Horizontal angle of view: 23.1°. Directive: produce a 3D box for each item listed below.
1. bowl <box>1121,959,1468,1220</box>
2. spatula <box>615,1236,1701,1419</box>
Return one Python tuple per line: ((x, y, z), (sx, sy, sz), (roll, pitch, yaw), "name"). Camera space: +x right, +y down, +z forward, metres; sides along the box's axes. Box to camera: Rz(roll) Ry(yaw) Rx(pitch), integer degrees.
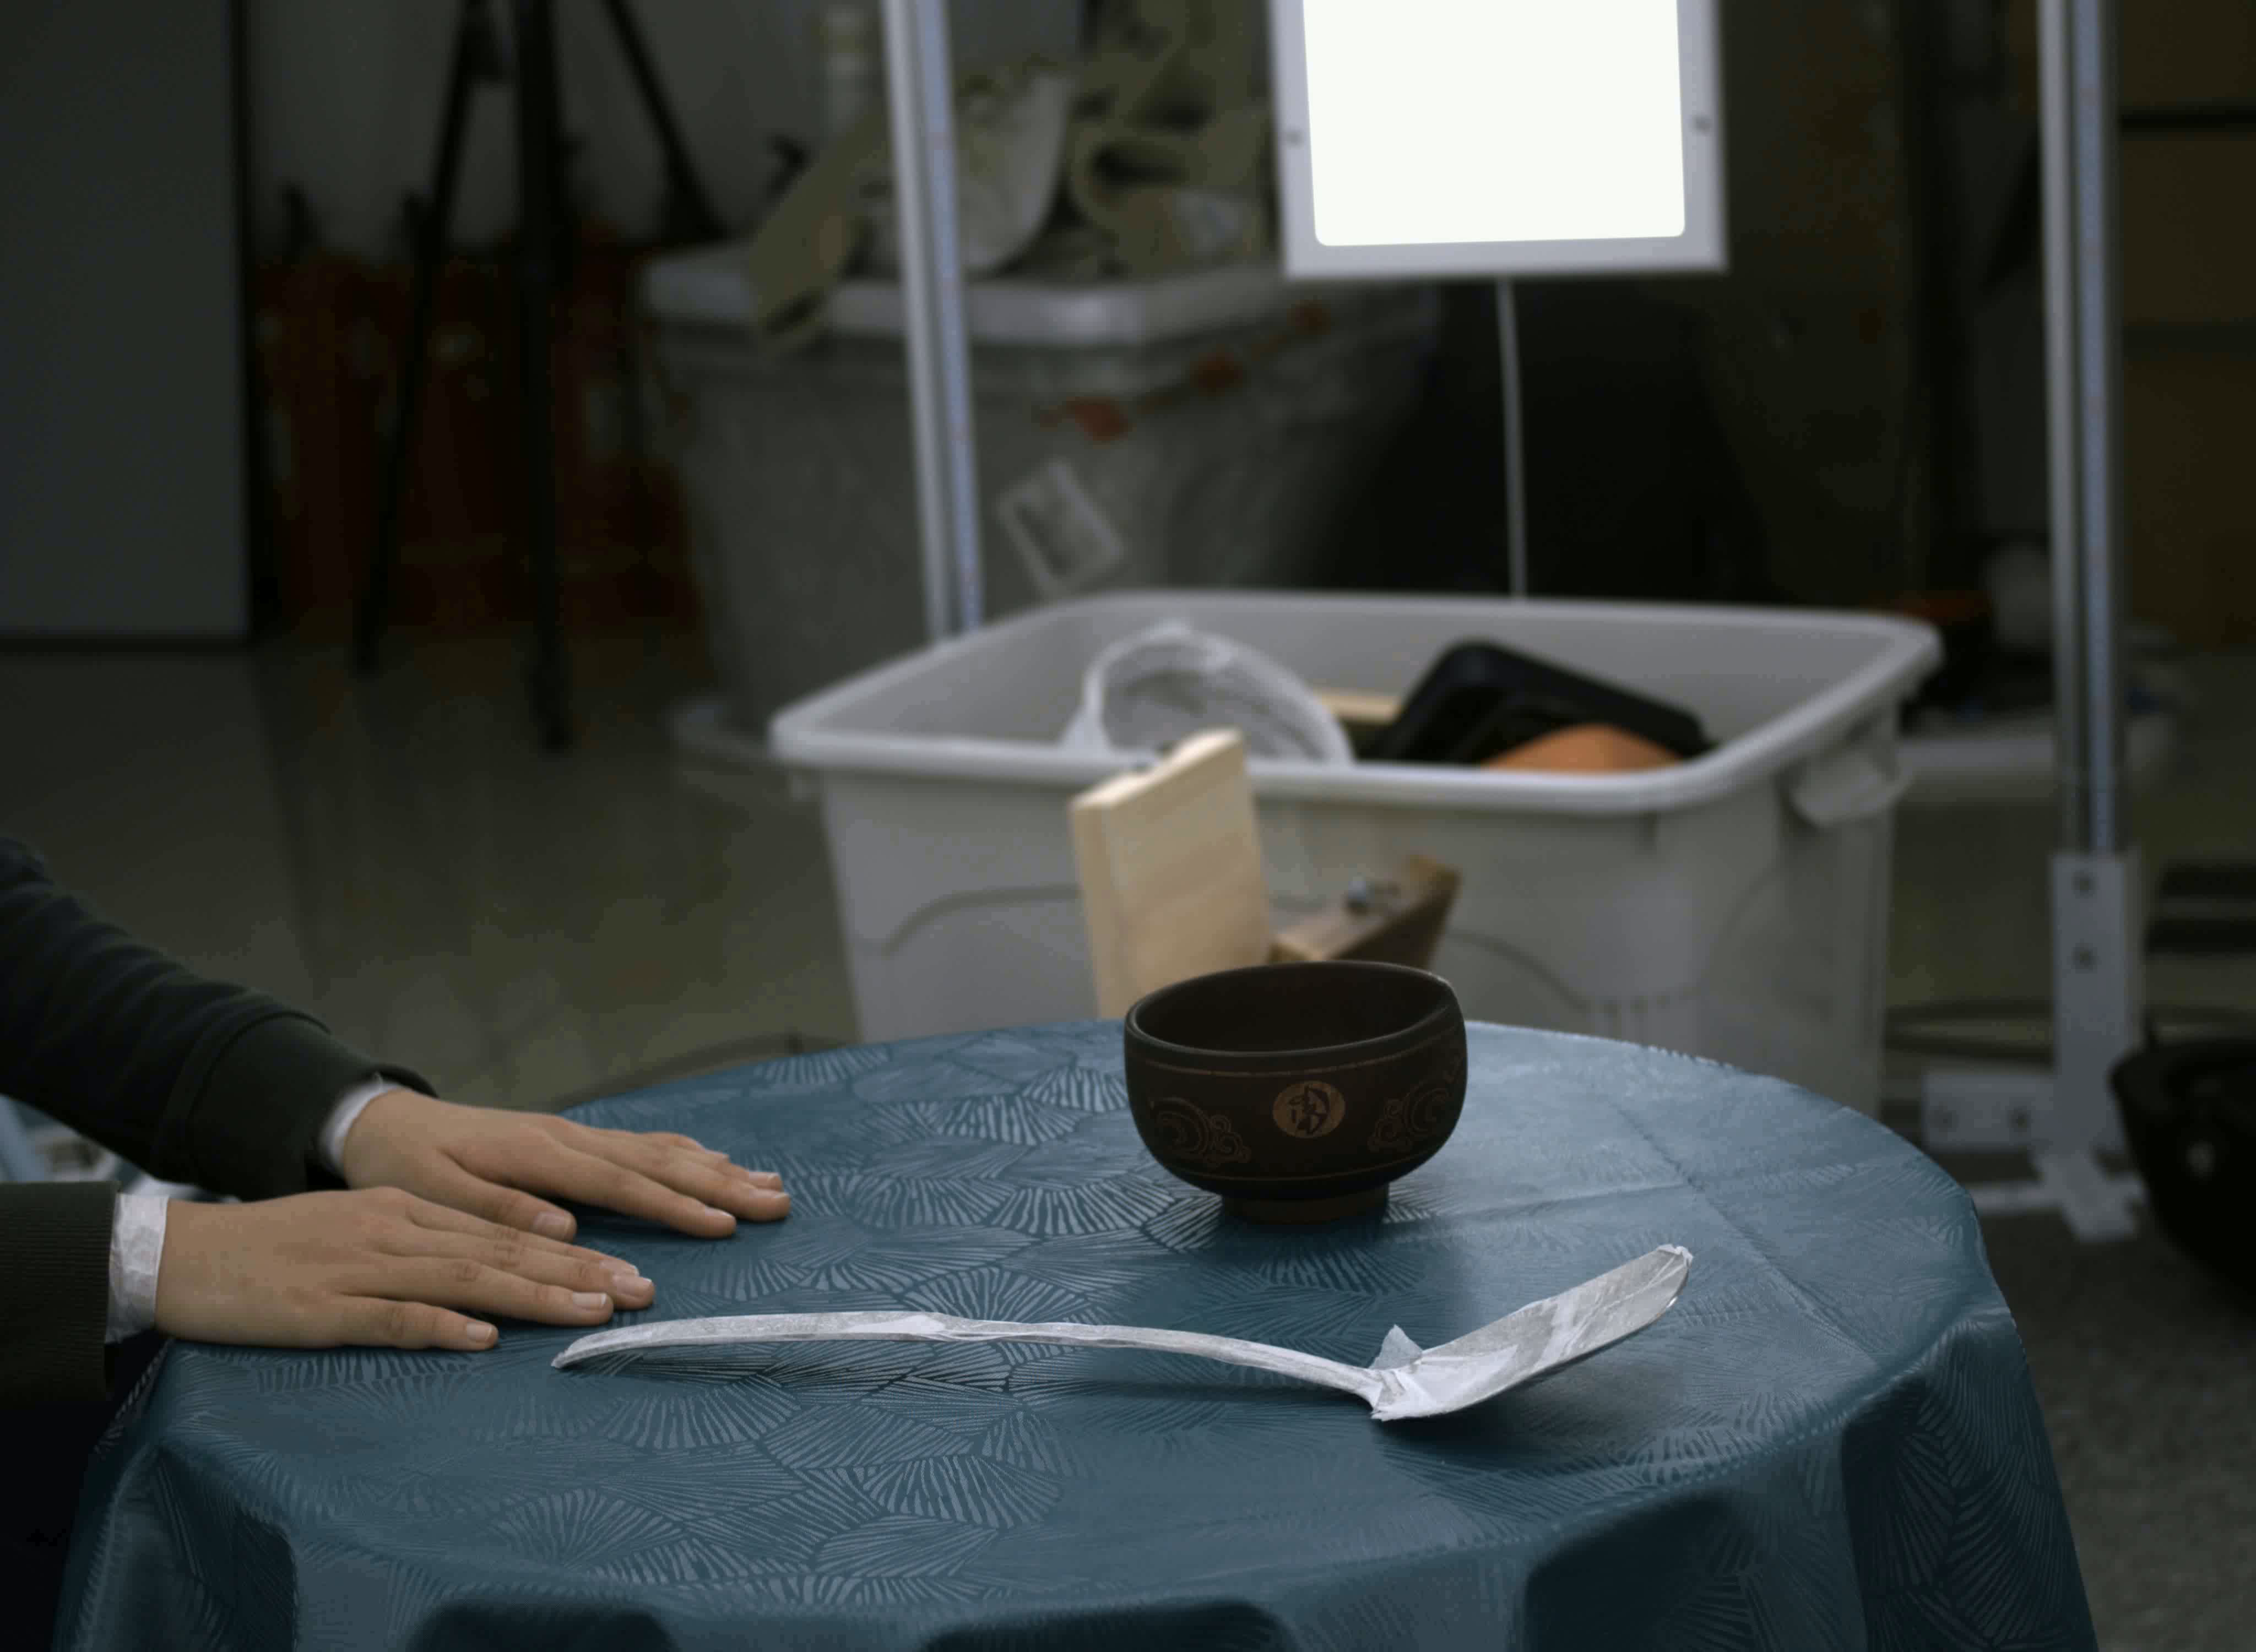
((0.058, 0.092, 1.865), (0.118, 0.070, 0.118), (-5, 12, 0), "bowl")
((-0.002, 0.153, 1.706), (0.370, 0.045, 0.097), (1, 17, 22), "spatula")
